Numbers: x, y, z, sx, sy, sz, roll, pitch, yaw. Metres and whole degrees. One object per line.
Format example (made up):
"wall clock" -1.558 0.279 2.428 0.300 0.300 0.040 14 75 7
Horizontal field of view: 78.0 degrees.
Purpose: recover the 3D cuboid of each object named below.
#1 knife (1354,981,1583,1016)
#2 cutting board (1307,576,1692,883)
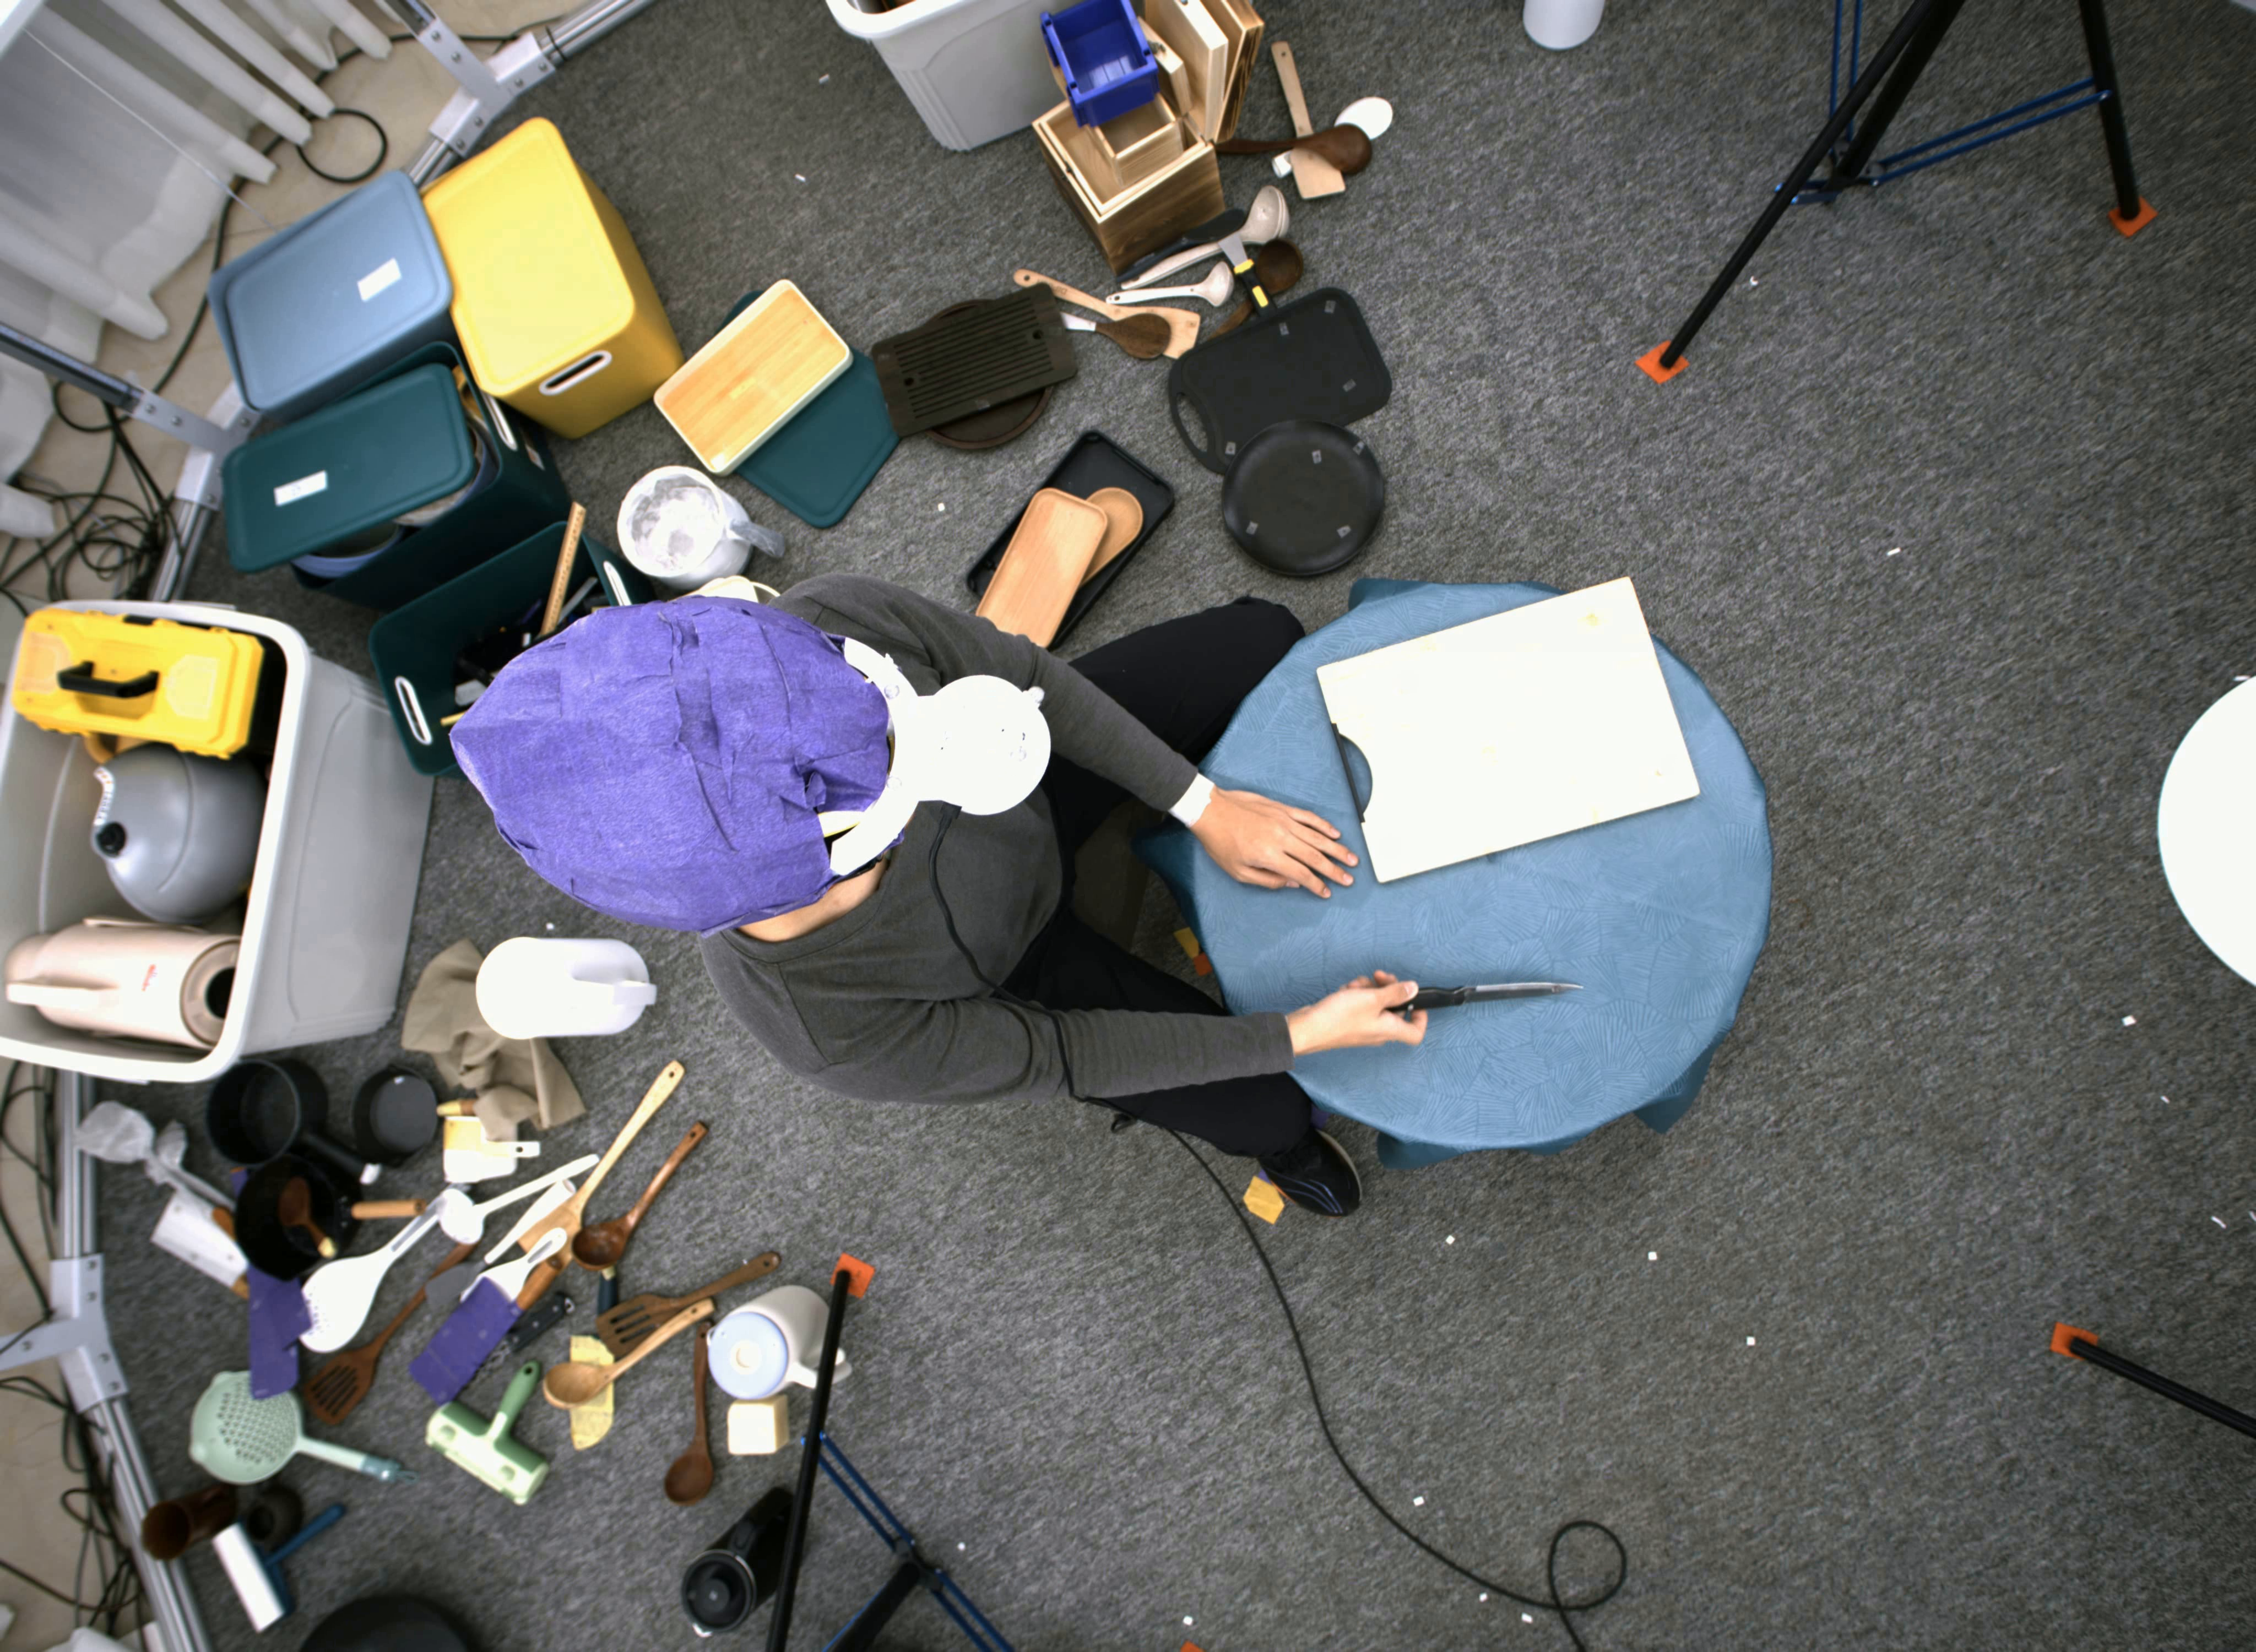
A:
"knife" 0.348 0.172 1.407 0.238 0.016 0.025 -6 127 -1
"cutting board" 0.389 -0.102 1.439 0.350 0.023 0.249 -17 83 9
